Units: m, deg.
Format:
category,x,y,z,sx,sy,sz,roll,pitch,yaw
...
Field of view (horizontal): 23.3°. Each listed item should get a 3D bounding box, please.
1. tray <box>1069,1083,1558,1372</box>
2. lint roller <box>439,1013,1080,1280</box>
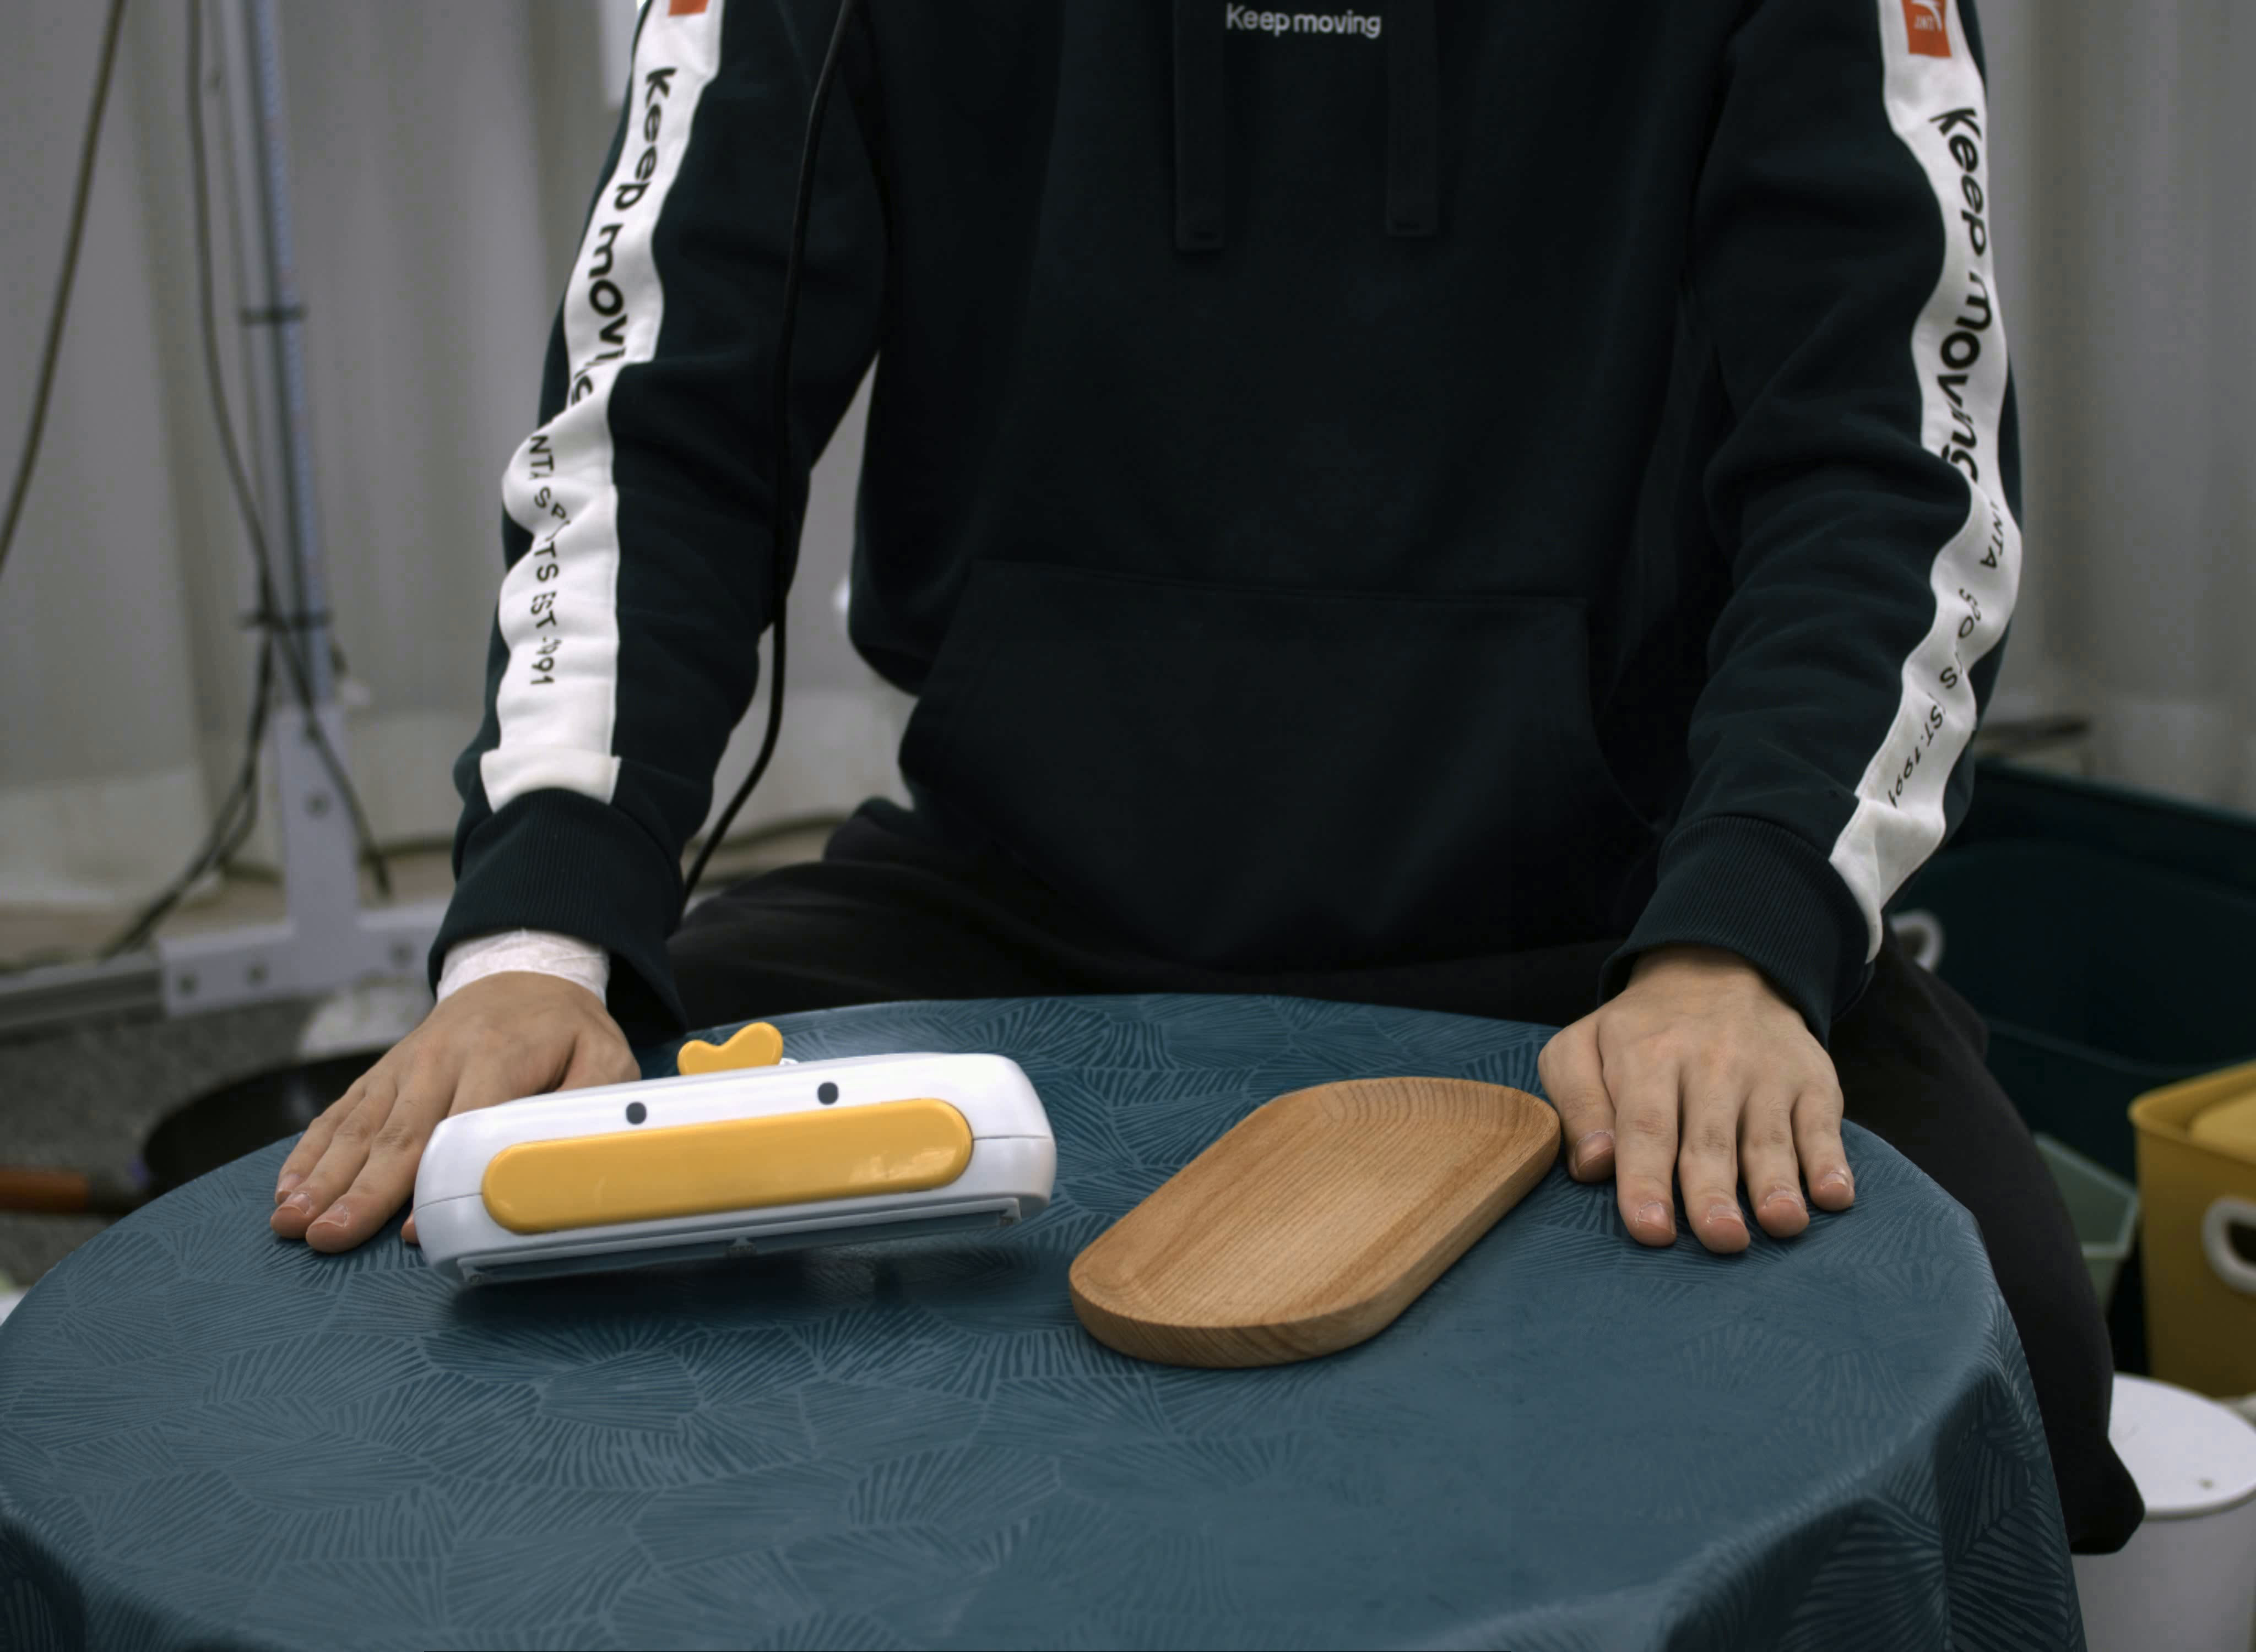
category,x,y,z,sx,sy,sz,roll,pitch,yaw
tray,0.059,0.119,1.653,0.102,0.020,0.232,2,17,23
lint roller,-0.116,0.099,1.700,0.192,0.074,0.192,-11,-4,-5
